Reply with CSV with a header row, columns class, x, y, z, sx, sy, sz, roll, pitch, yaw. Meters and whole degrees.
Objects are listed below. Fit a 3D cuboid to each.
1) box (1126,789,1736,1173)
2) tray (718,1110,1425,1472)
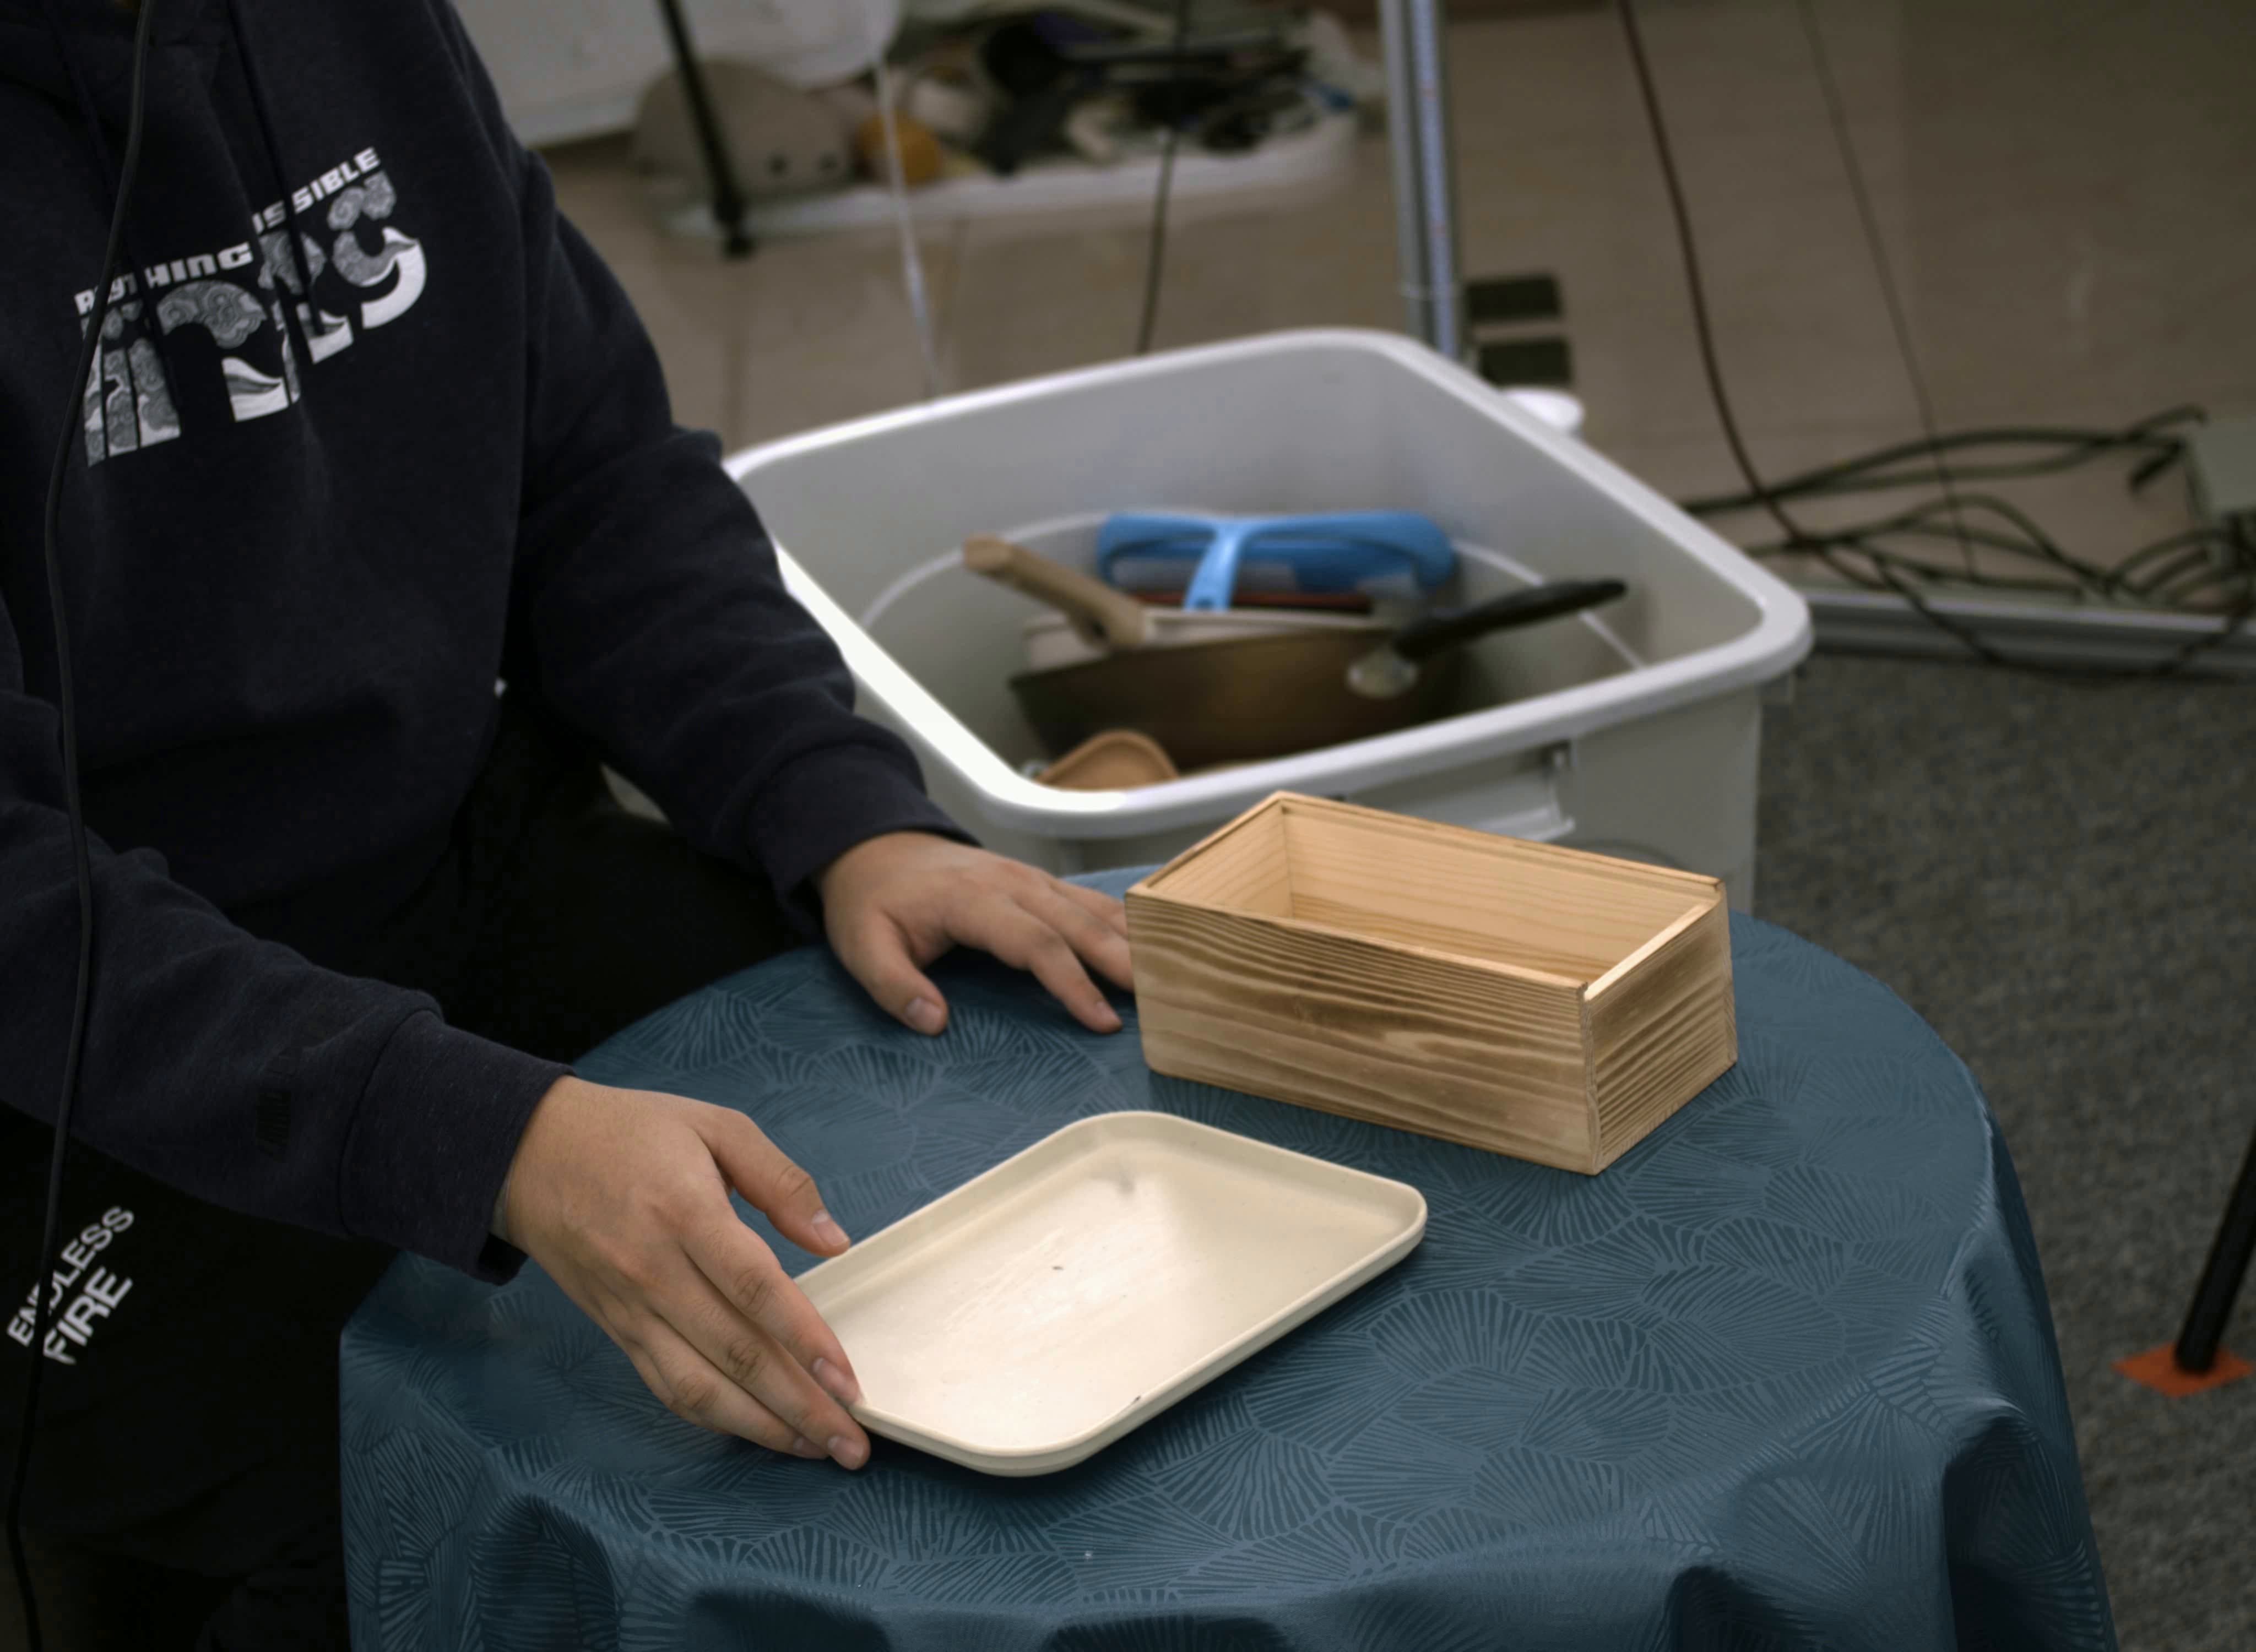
class,x,y,z,sx,sy,sz,roll,pitch,yaw
box,0.117,0.057,2.200,0.210,0.081,0.106,12,30,35
tray,-0.019,0.168,2.059,0.170,0.018,0.237,15,29,39
